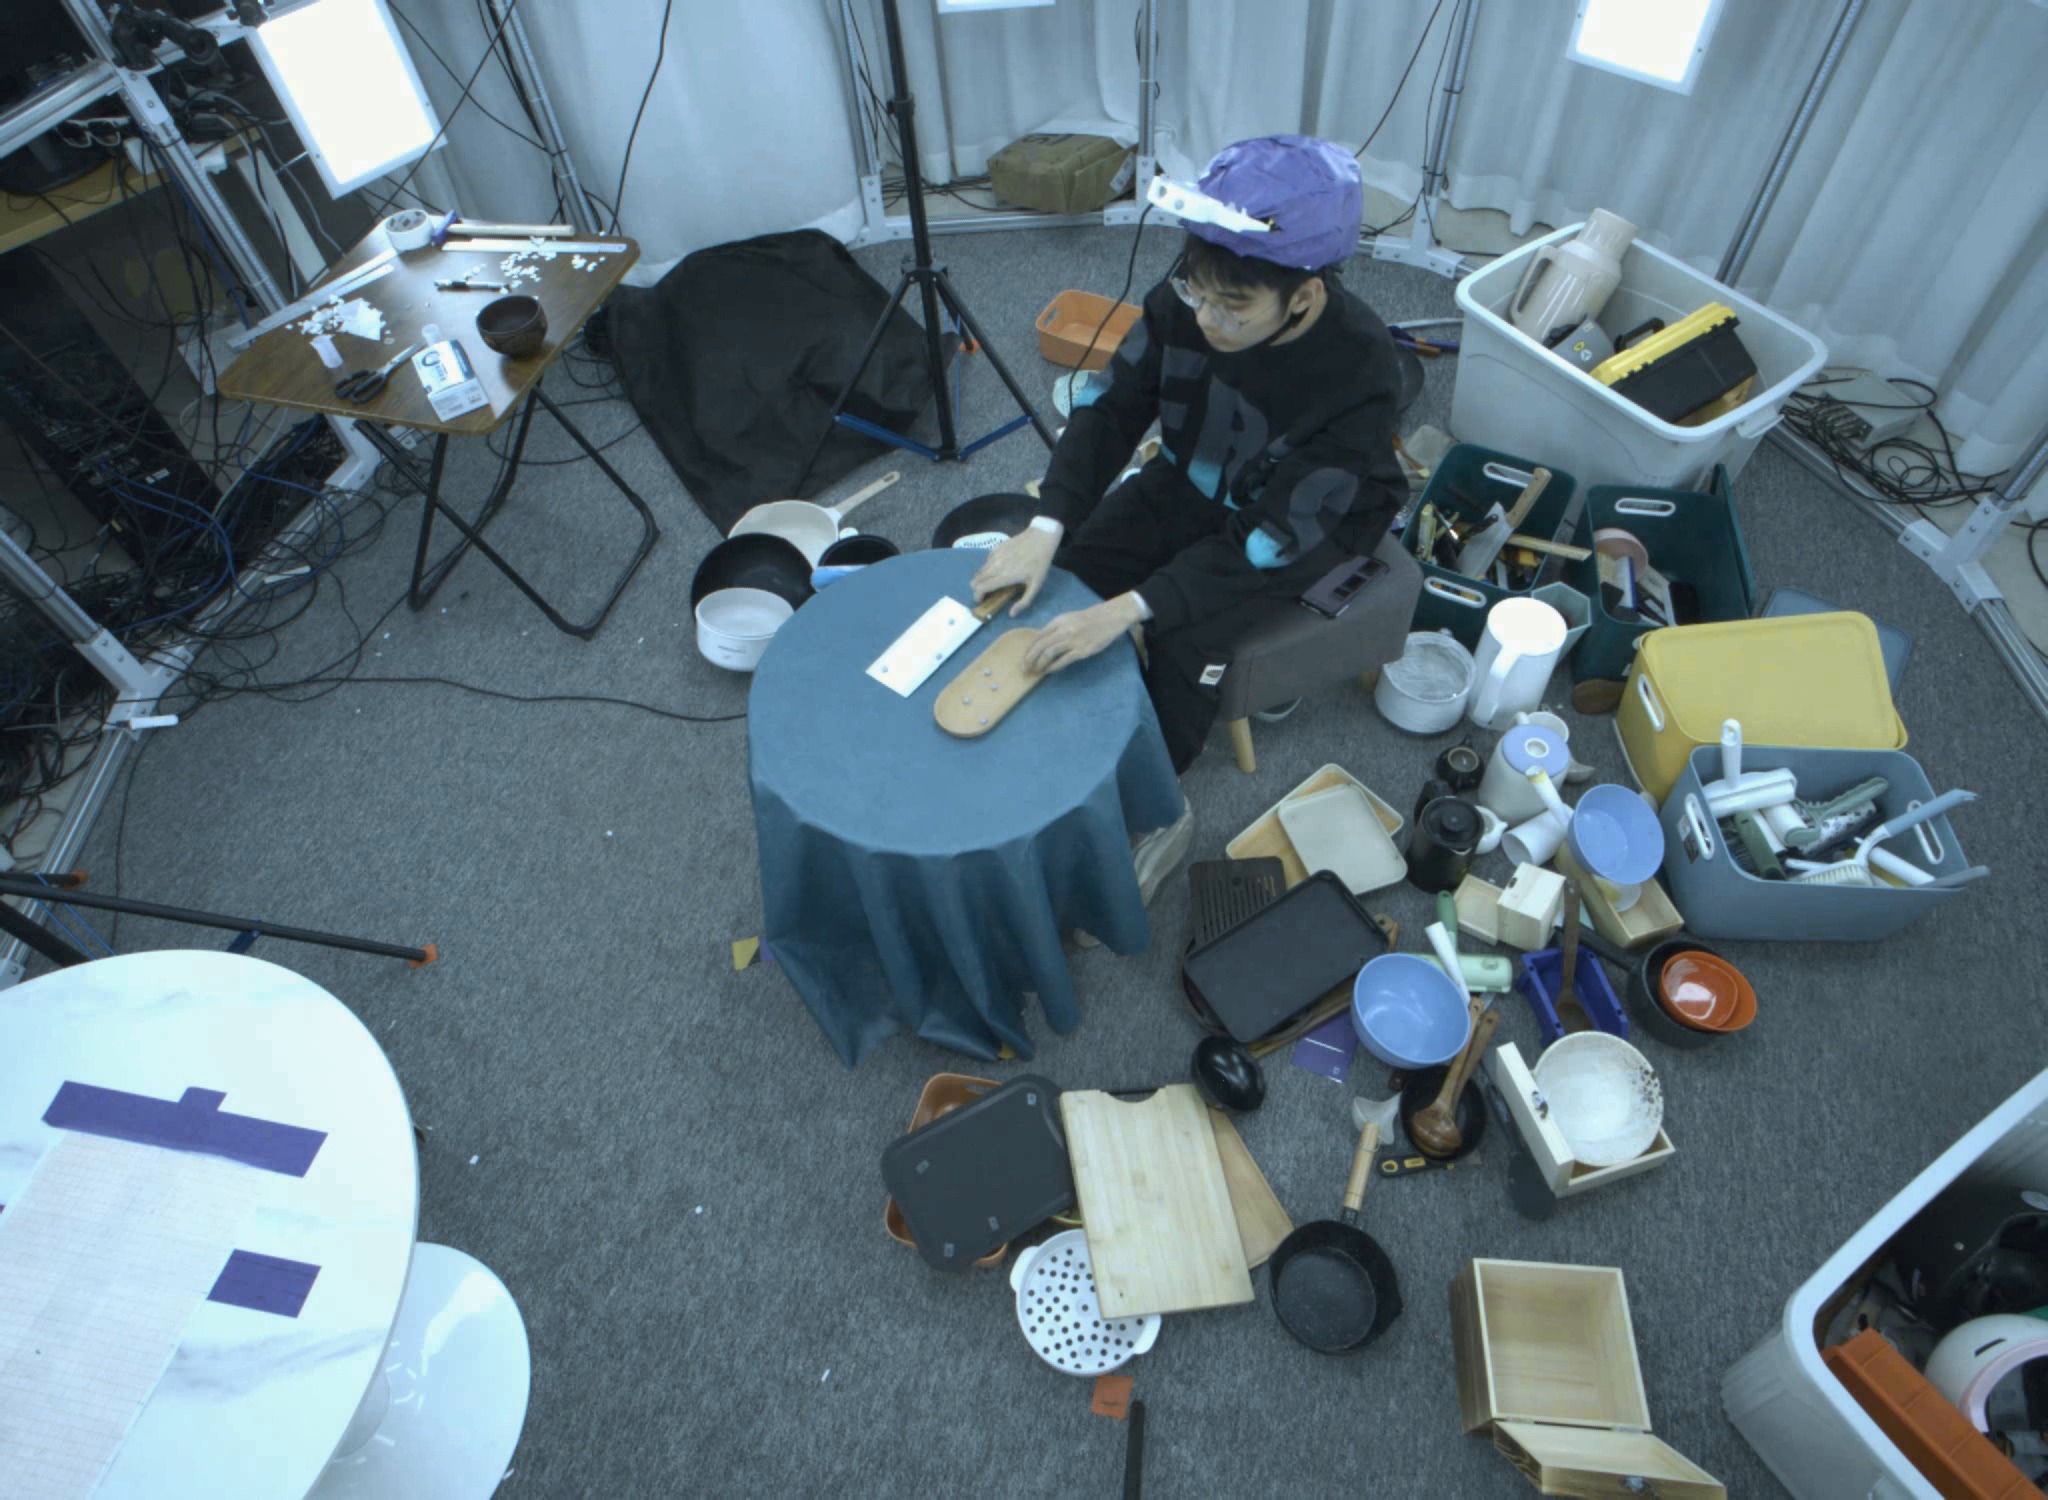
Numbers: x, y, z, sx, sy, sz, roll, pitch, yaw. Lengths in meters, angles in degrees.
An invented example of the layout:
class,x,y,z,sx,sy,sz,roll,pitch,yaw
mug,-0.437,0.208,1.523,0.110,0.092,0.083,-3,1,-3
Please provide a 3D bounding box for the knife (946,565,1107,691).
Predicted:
class,x,y,z,sx,sy,sz,roll,pitch,yaw
knife,0.001,-0.204,1.922,0.091,0.021,0.307,36,66,26

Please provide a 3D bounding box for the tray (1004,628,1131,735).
class,x,y,z,sx,sy,sz,roll,pitch,yaw
tray,0.067,-0.104,1.847,0.100,0.020,0.233,38,63,24
